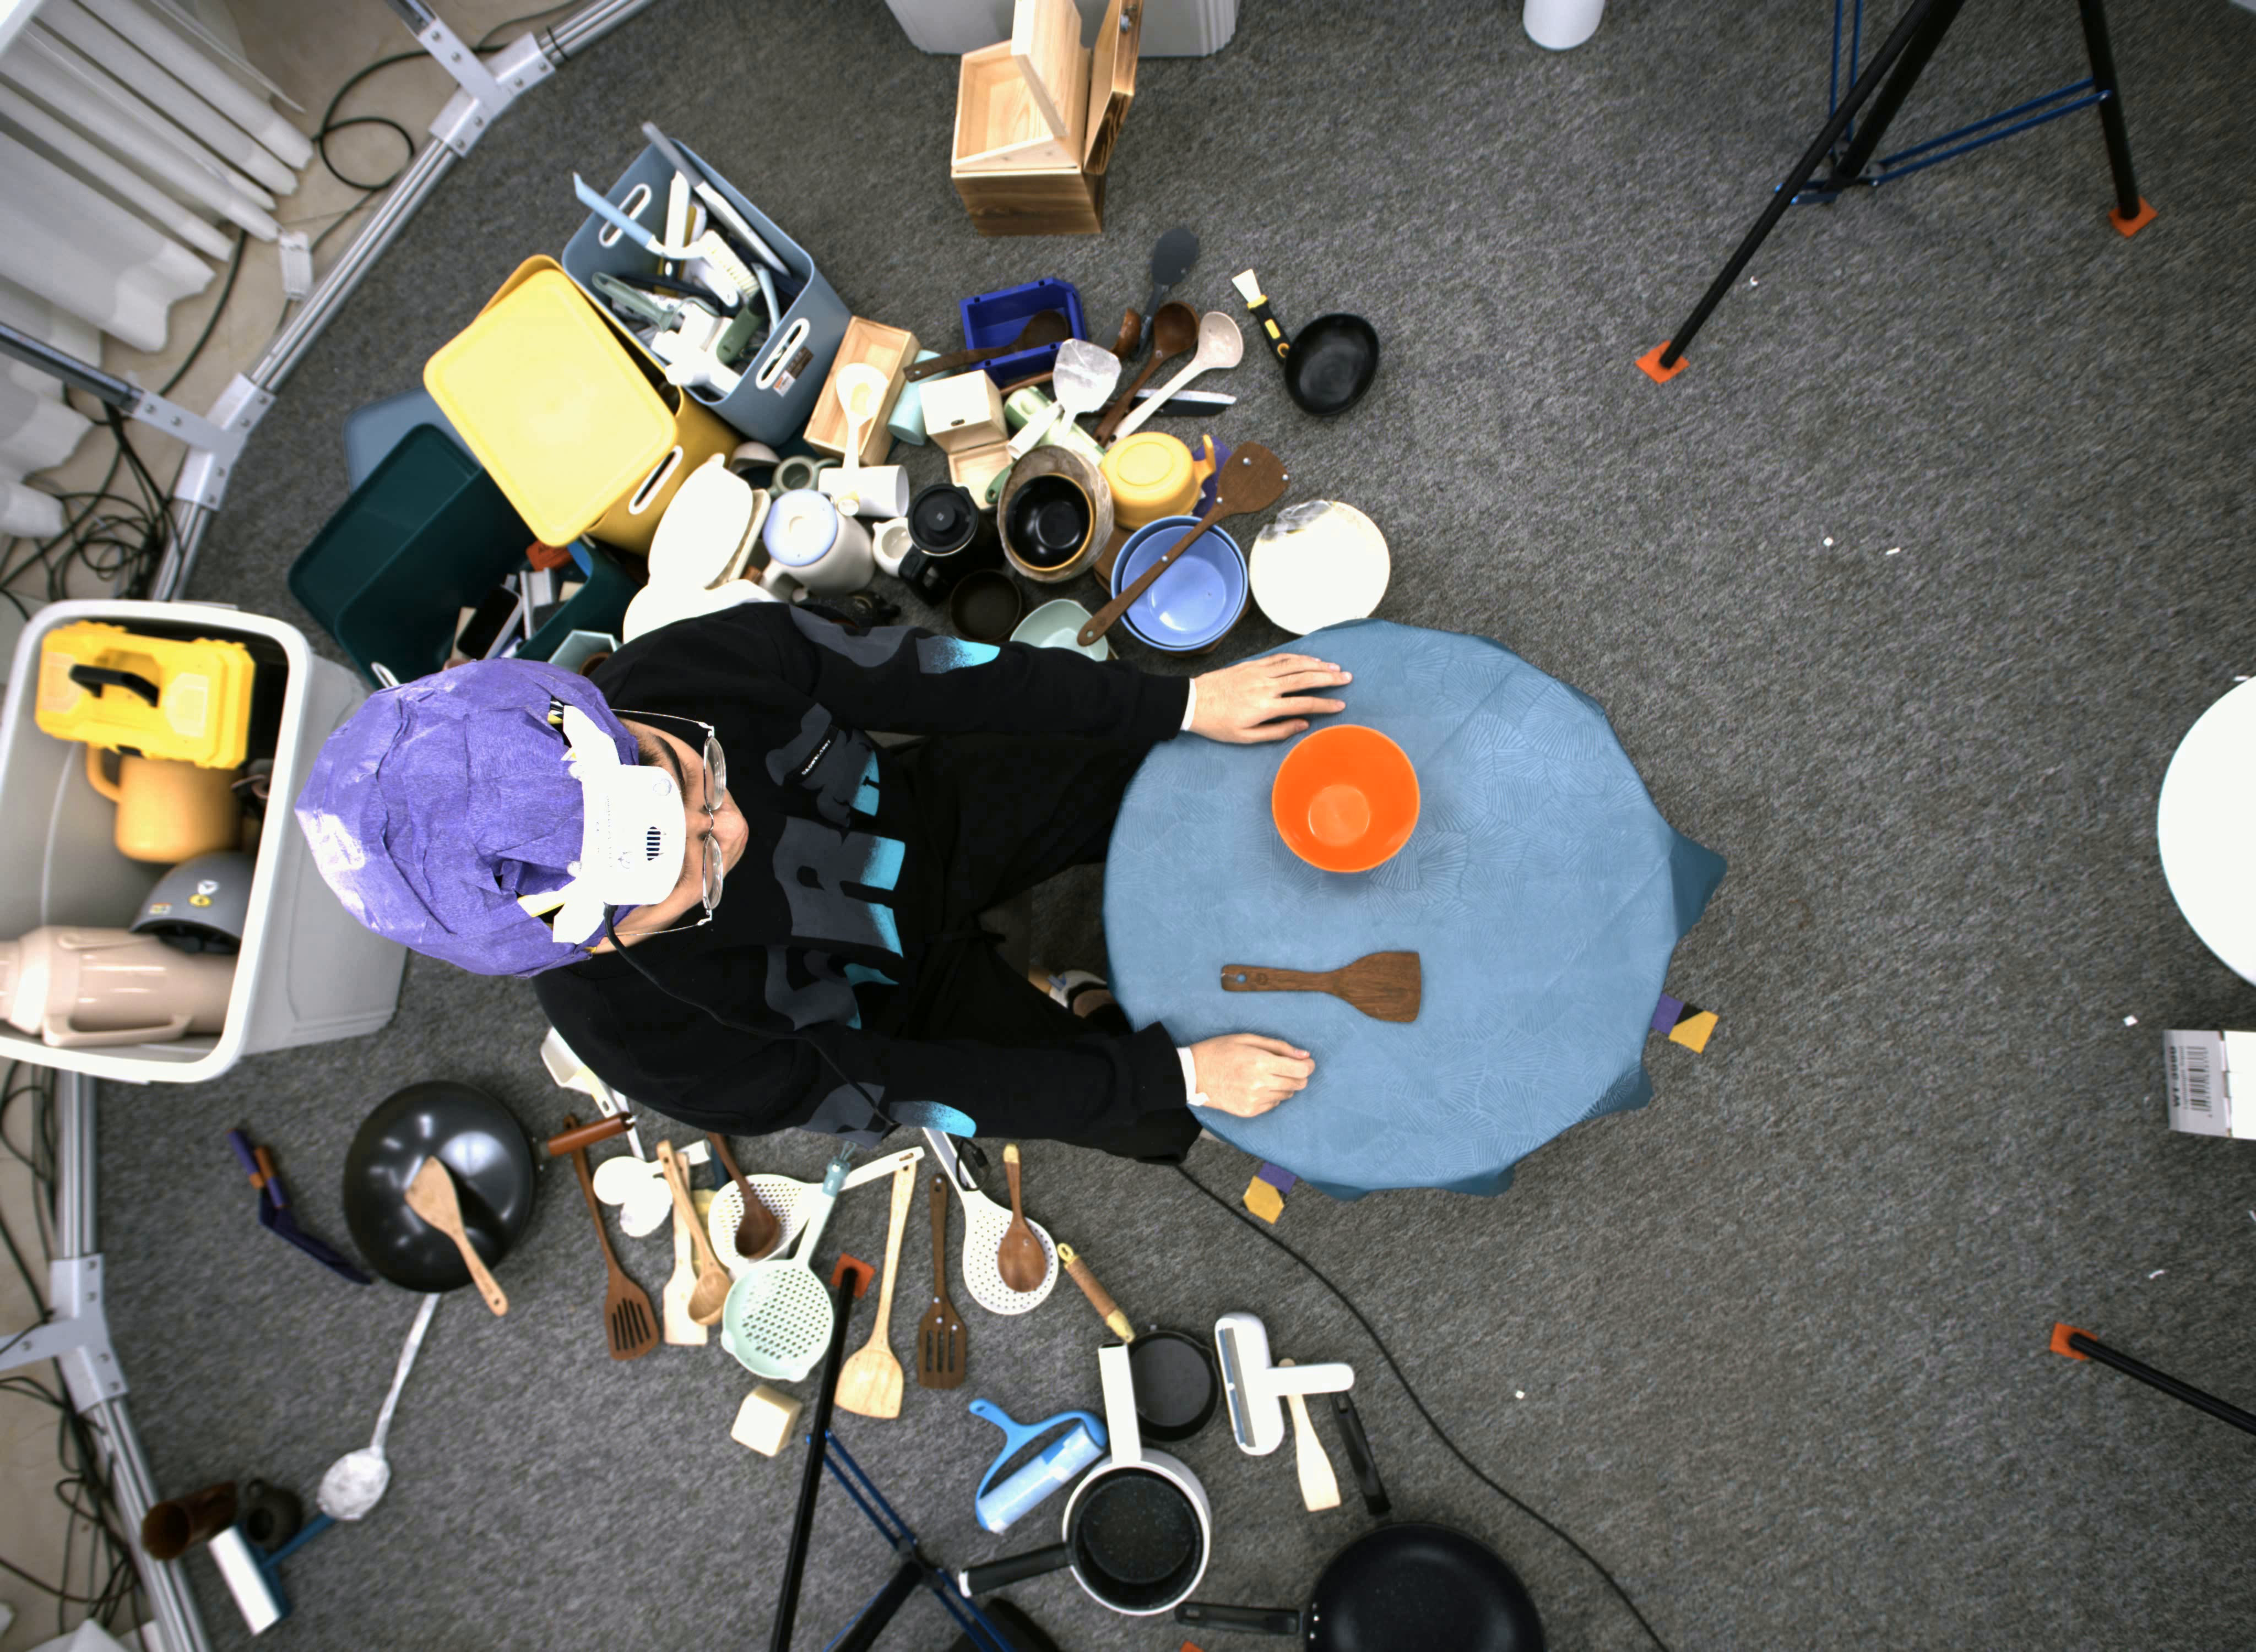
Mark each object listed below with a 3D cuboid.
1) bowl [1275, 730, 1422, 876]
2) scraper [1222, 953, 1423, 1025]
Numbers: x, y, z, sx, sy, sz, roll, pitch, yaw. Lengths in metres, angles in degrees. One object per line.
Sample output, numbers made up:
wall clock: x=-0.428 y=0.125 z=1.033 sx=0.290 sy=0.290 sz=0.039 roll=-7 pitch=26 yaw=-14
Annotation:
bowl: x=0.229 y=-0.020 z=1.428 sx=0.148 sy=0.104 sz=0.147 roll=-1 pitch=86 yaw=11
scraper: x=0.205 y=0.167 z=1.466 sx=0.212 sy=0.011 sz=0.075 roll=2 pitch=86 yaw=11
